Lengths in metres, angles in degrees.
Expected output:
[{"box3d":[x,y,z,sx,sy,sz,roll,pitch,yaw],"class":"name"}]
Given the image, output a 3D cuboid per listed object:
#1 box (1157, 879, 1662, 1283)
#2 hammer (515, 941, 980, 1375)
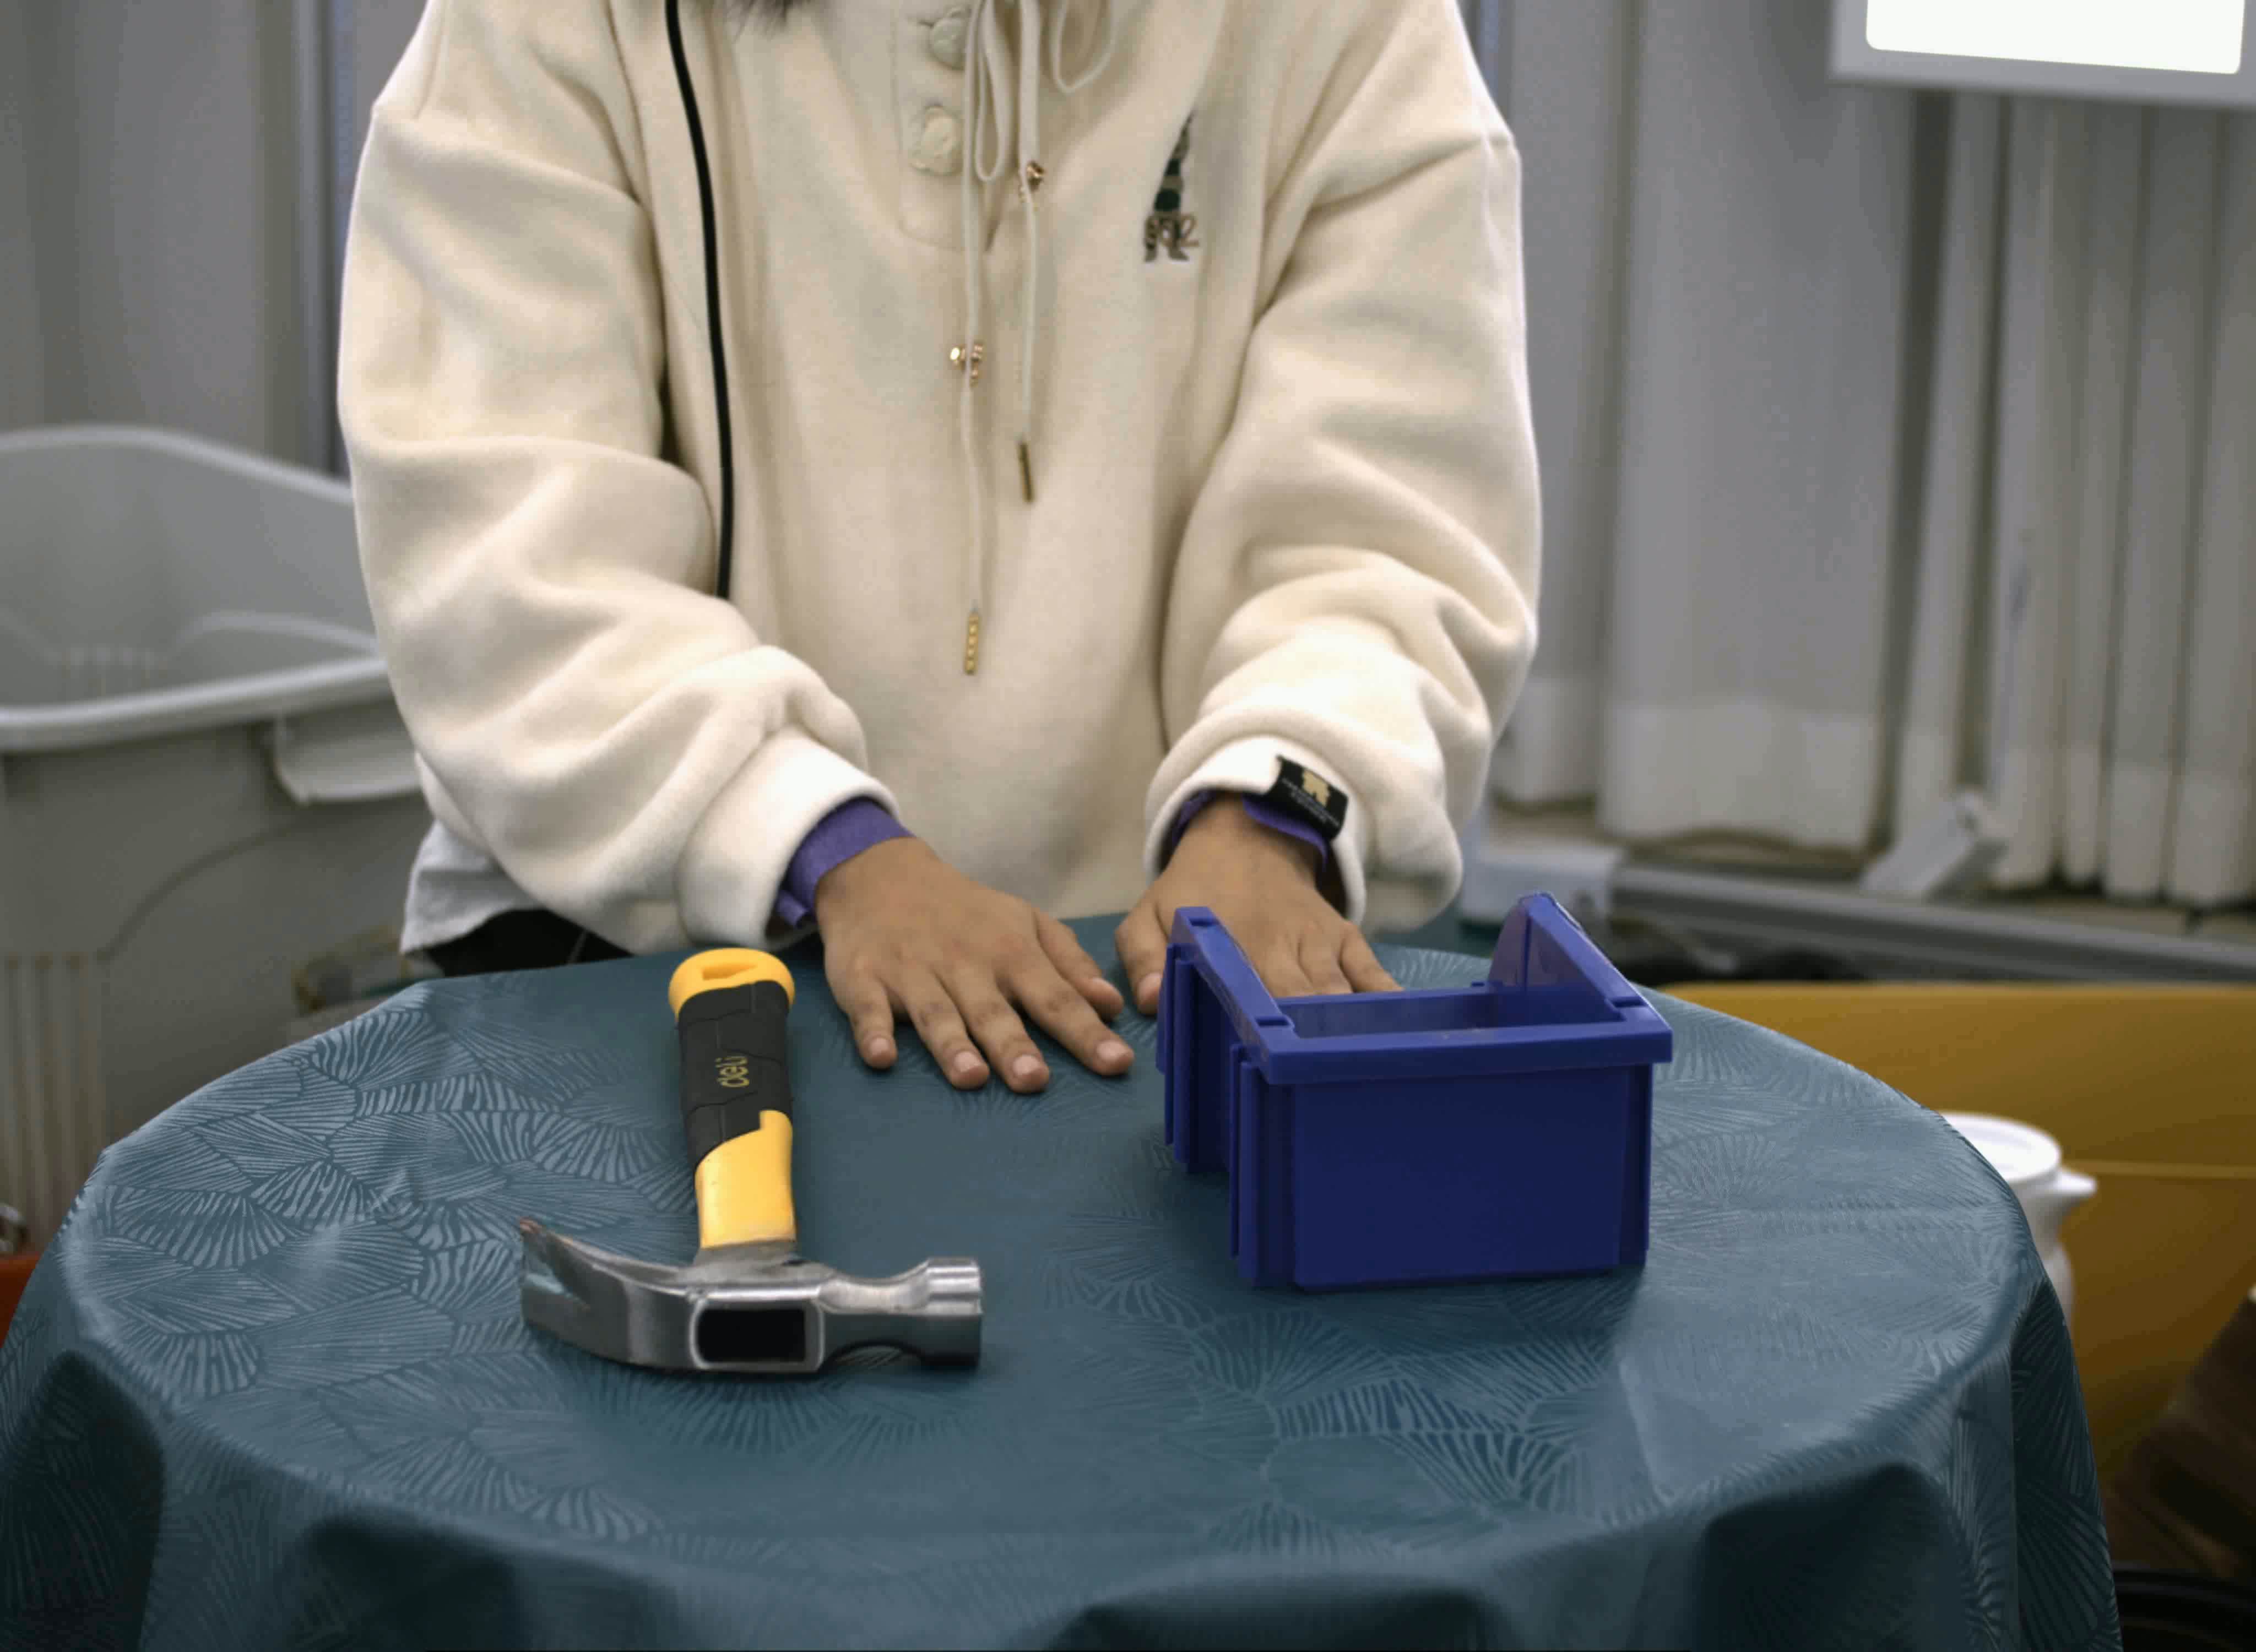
[{"box3d":[0.080,0.073,1.612,0.124,0.082,0.178,-3,18,-9],"class":"box"},{"box3d":[-0.118,0.095,1.617,0.131,0.032,0.336,-2,16,-4],"class":"hammer"}]
